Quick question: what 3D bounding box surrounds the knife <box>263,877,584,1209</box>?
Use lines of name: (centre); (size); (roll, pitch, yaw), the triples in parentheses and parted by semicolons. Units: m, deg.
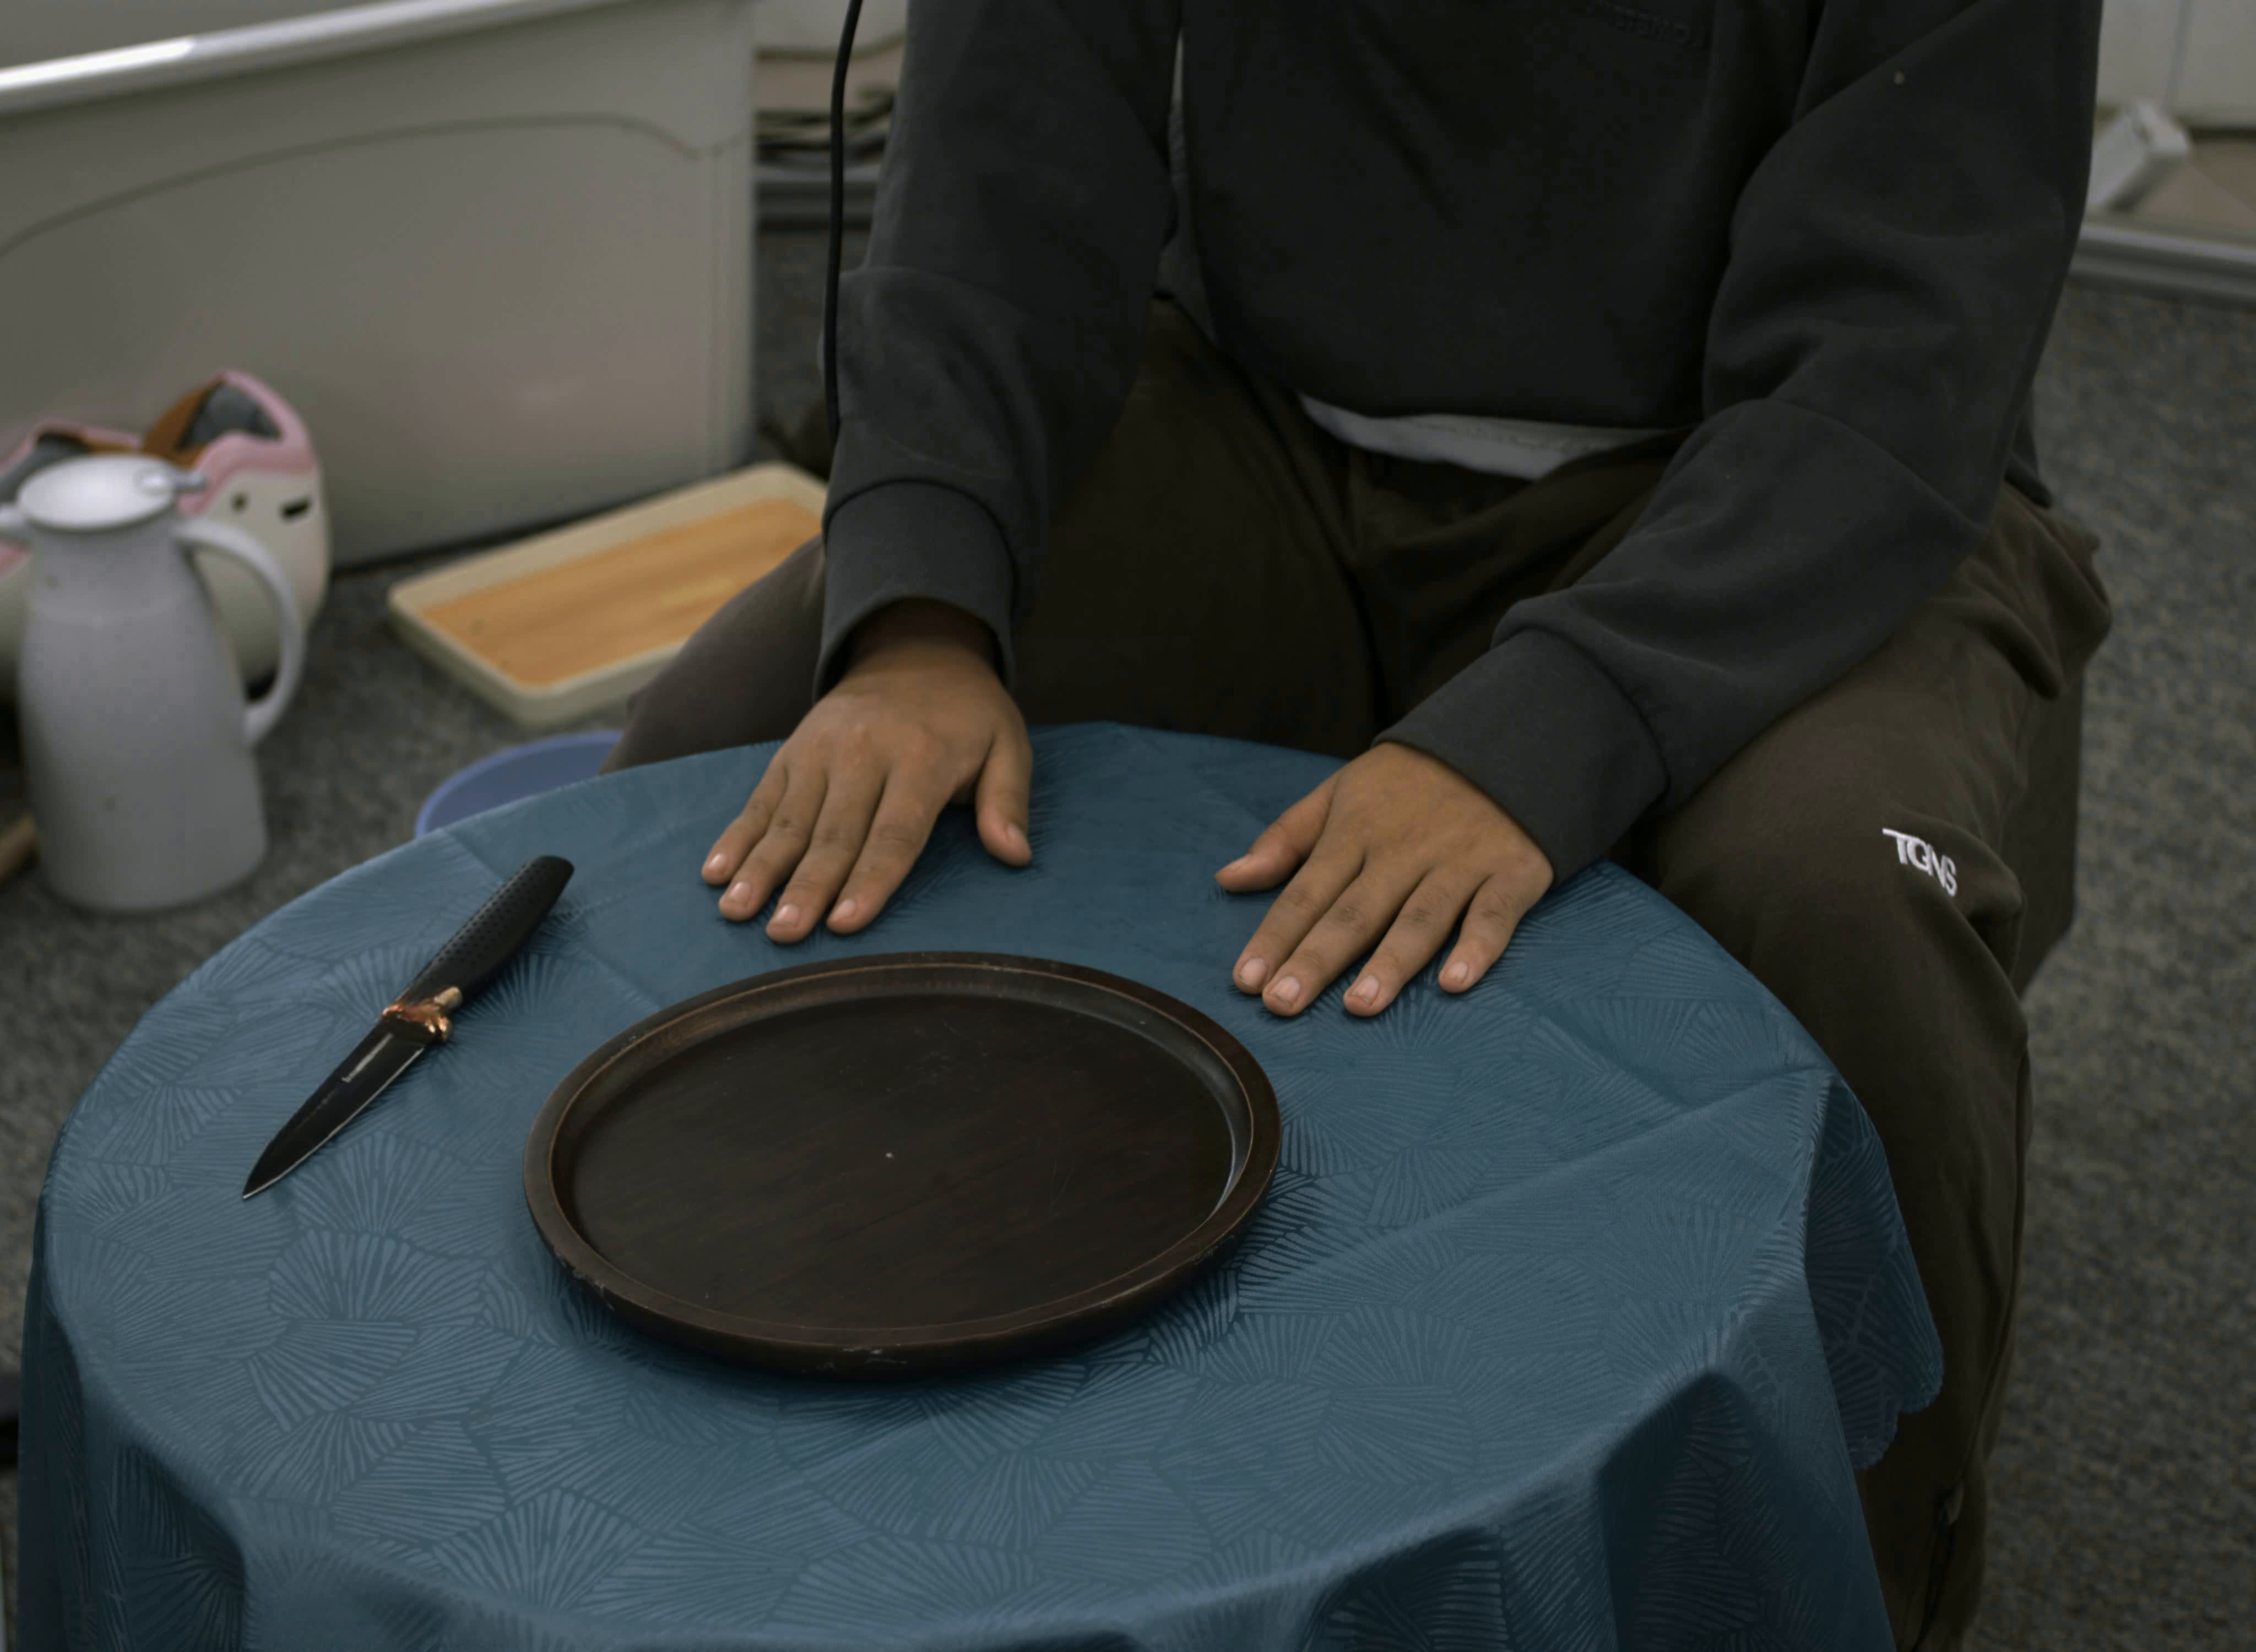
knife: (-0.248, 0.075, 1.966); (0.026, 0.017, 0.229); (13, 32, 19)

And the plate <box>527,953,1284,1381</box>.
plate: (-0.073, 0.112, 1.866); (0.253, 0.029, 0.258); (-3, 26, 2)
